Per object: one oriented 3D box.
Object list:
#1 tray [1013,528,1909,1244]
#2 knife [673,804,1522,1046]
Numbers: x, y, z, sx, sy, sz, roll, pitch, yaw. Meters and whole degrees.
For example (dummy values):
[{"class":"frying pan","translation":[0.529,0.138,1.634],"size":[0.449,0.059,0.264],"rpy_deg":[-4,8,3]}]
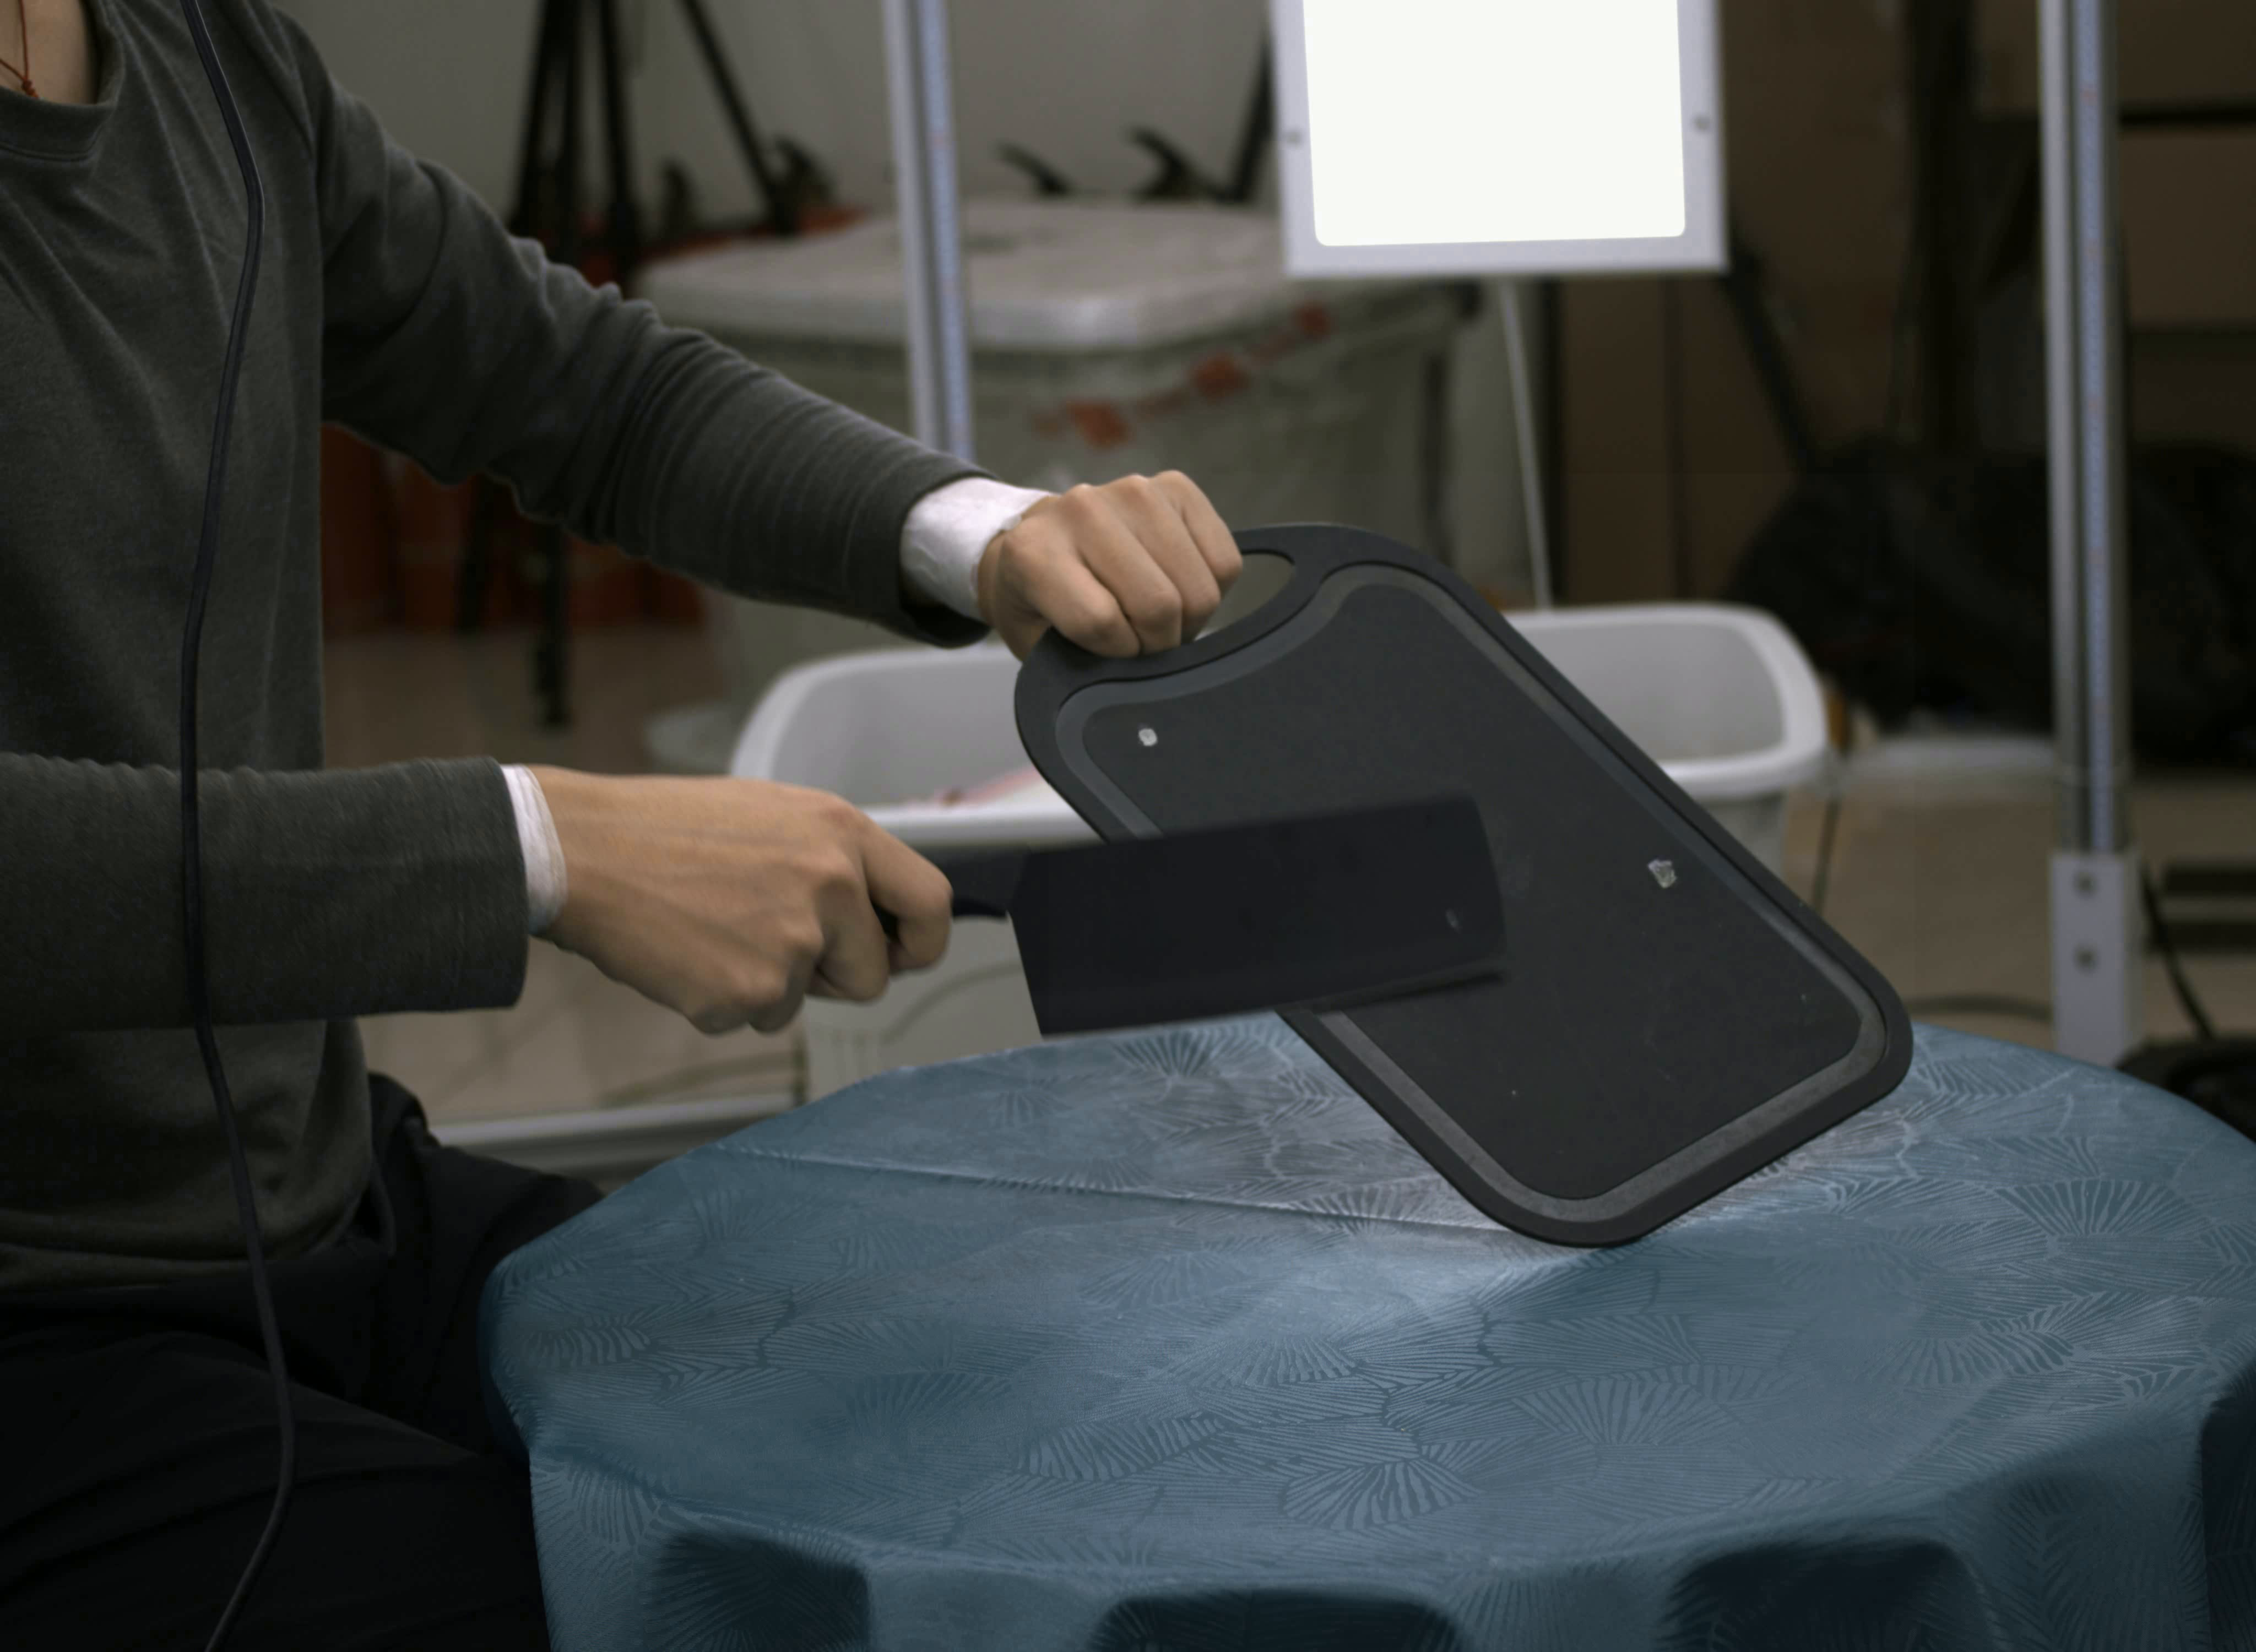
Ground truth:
[{"class":"tray","translation":[0.110,0.009,1.908],"size":[0.206,0.010,0.329],"rpy_deg":[-25,58,-35]},{"class":"knife","translation":[-0.007,0.035,1.827],"size":[0.297,0.081,0.021],"rpy_deg":[-2,-19,-20]}]
